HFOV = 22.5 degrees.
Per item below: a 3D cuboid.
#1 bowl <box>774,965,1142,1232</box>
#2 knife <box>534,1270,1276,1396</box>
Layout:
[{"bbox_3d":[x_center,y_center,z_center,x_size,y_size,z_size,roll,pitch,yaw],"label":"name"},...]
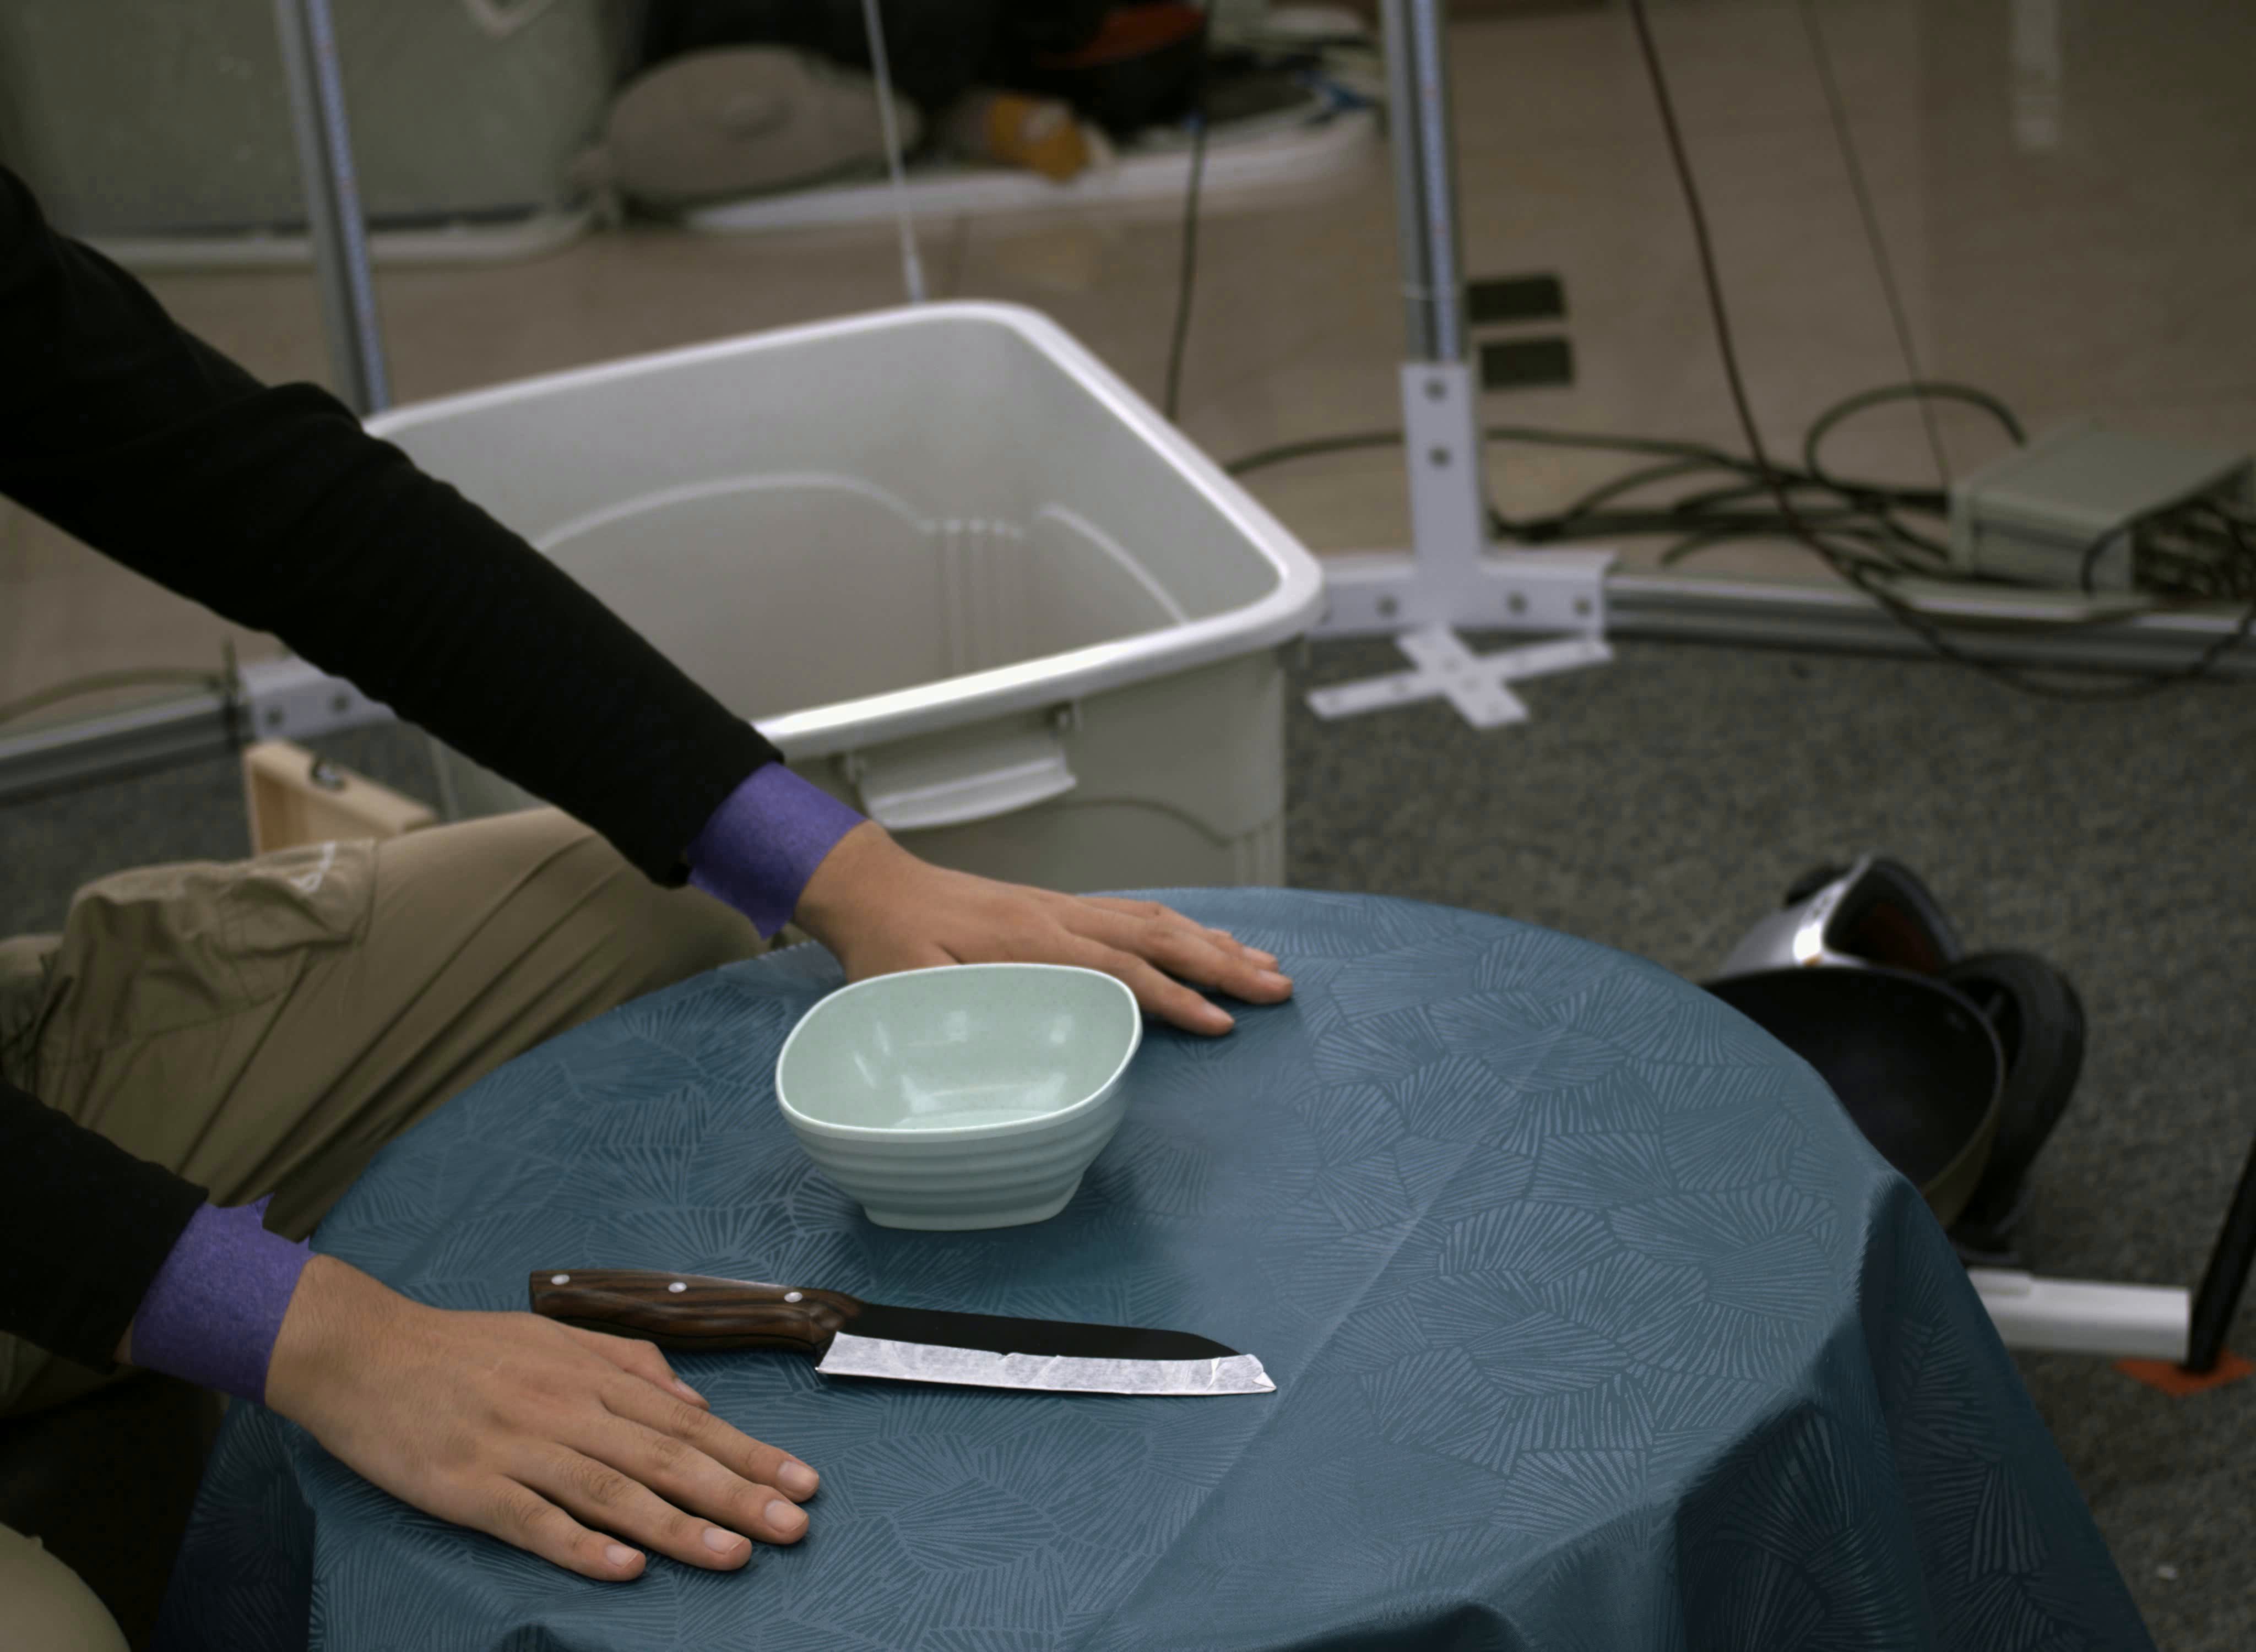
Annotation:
[{"bbox_3d":[-0.062,0.109,2.162,0.151,0.059,0.149,-4,26,2],"label":"bowl"},{"bbox_3d":[-0.084,0.185,2.054,0.288,0.020,0.049,5,32,17],"label":"knife"}]
